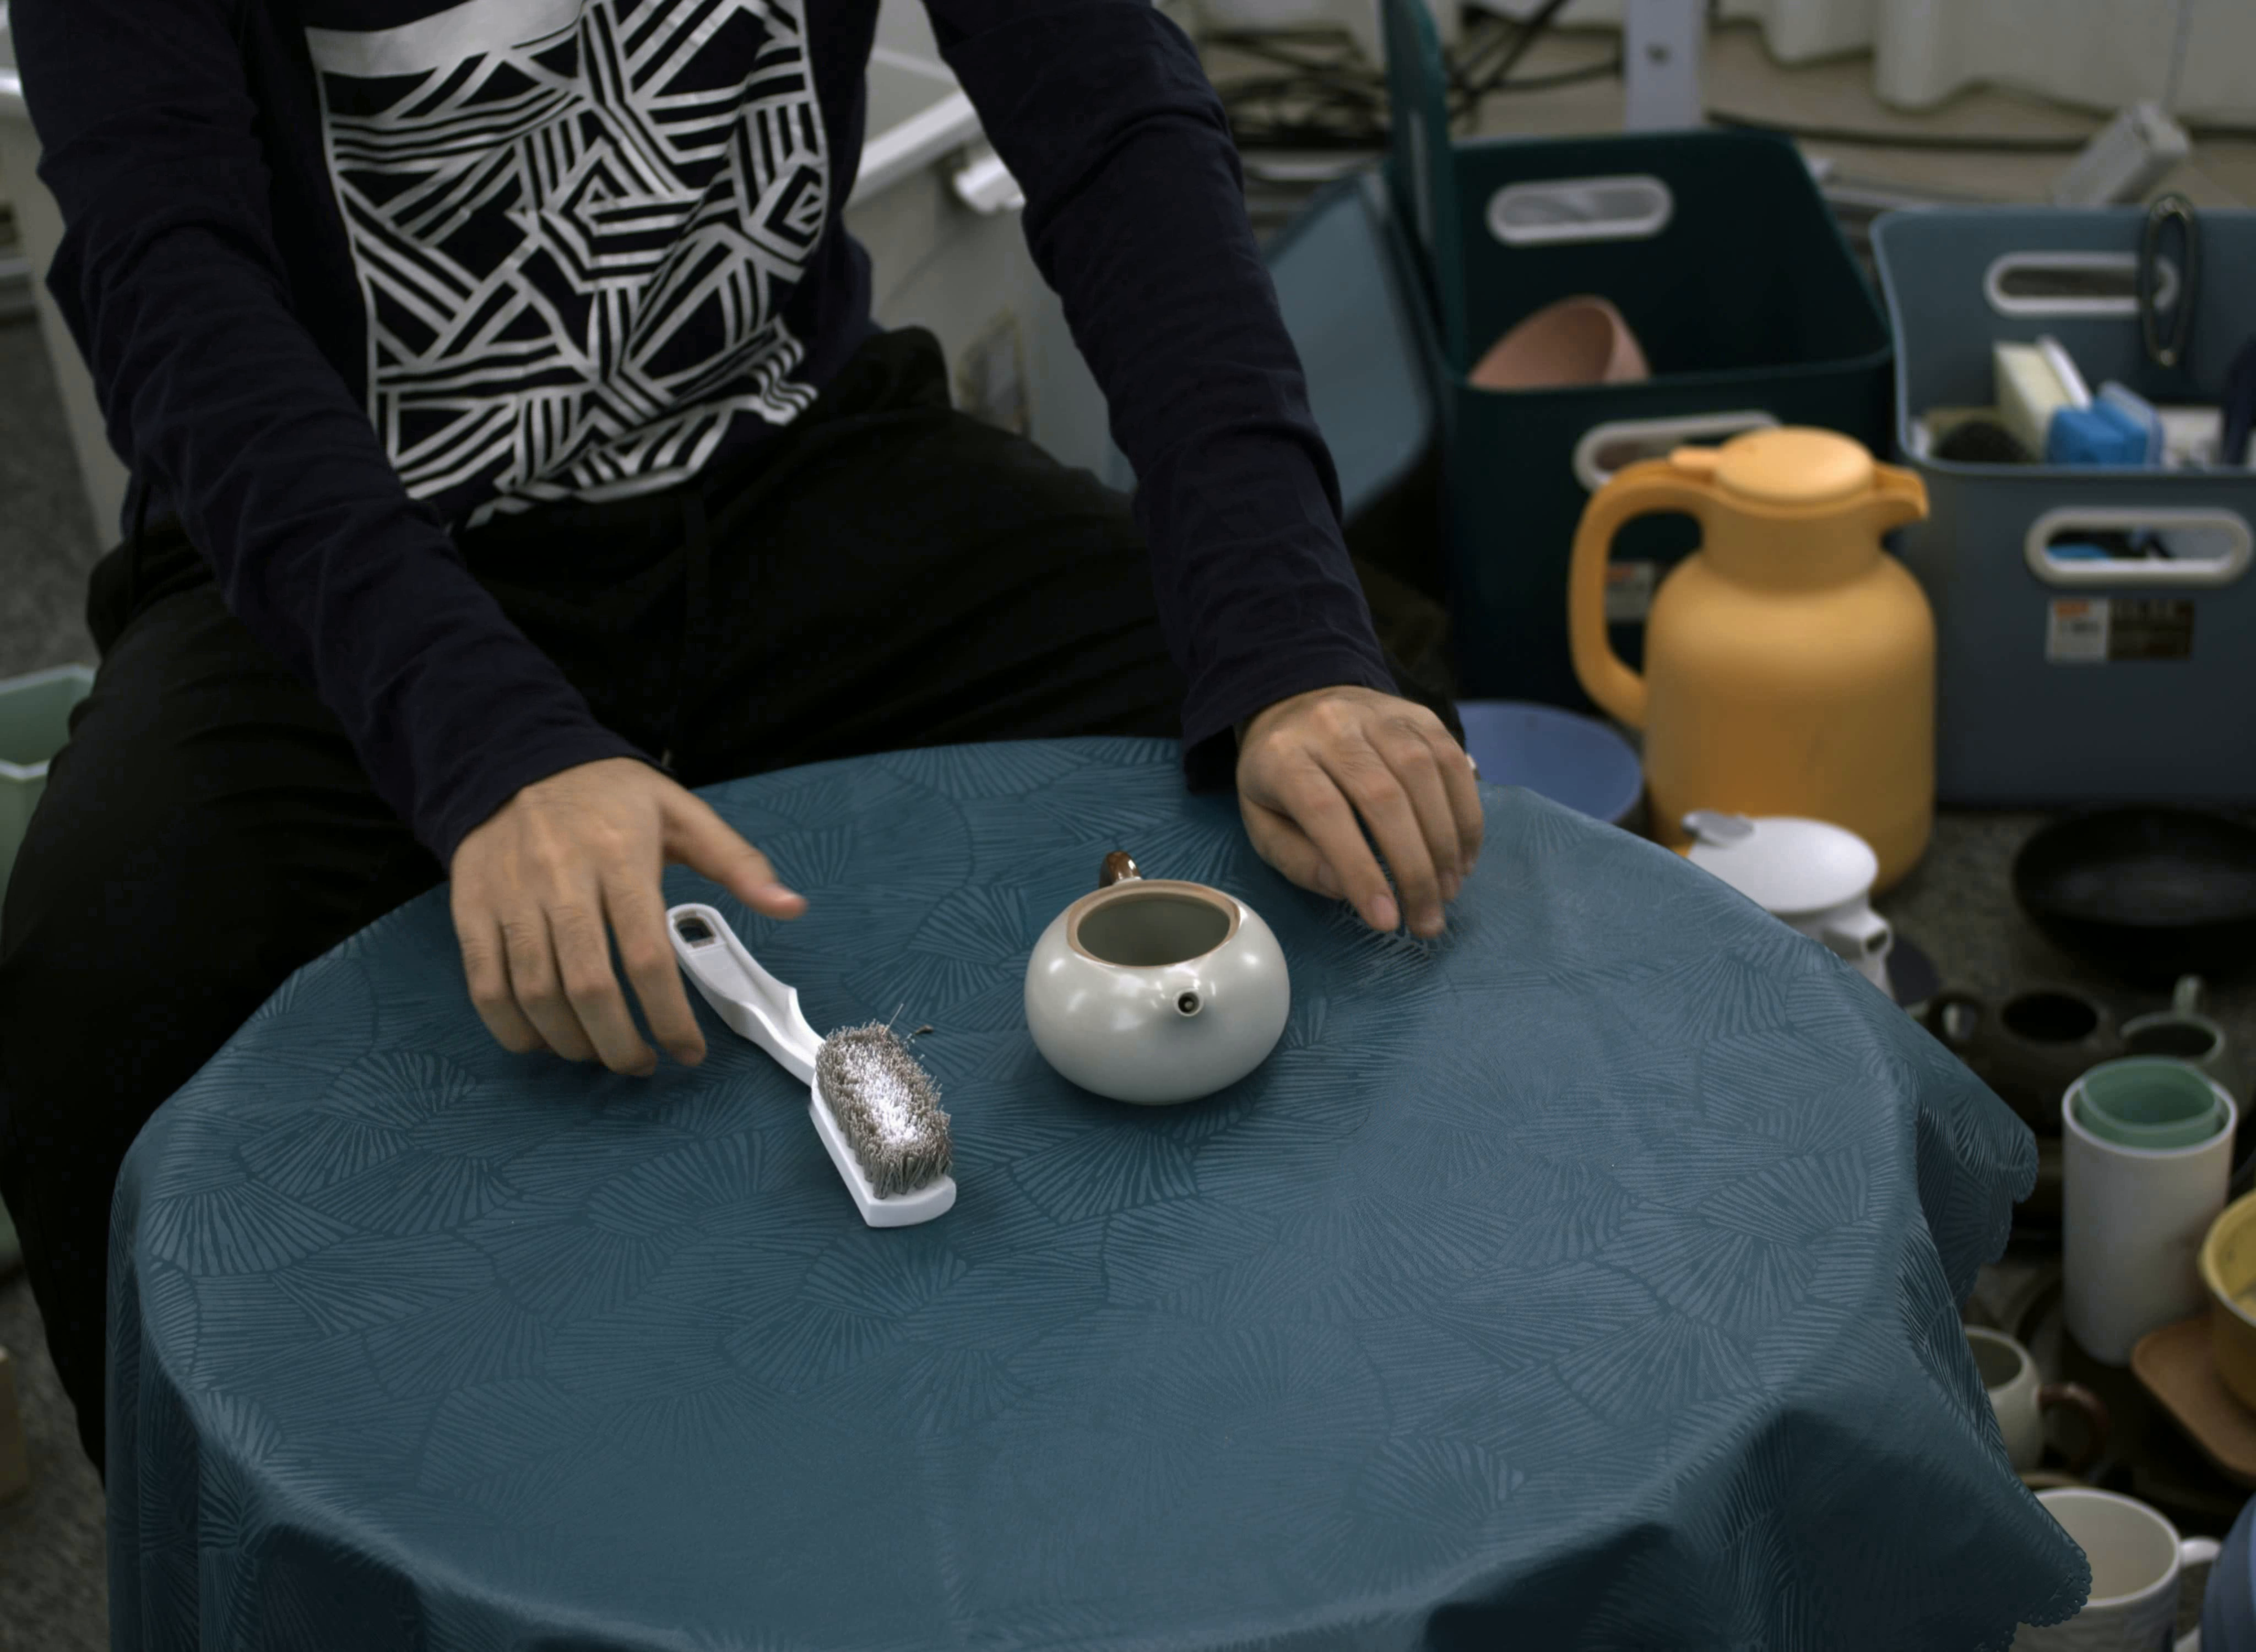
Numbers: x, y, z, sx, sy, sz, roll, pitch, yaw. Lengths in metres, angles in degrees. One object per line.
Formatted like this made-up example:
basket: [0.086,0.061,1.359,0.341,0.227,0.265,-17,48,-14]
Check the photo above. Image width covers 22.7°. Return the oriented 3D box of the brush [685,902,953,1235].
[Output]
brush: [-0.112,0.065,1.928,0.034,0.049,0.245,-16,30,-15]

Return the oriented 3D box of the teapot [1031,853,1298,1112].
teapot: [0.010,0.054,1.928,0.092,0.059,0.129,-12,30,-10]
